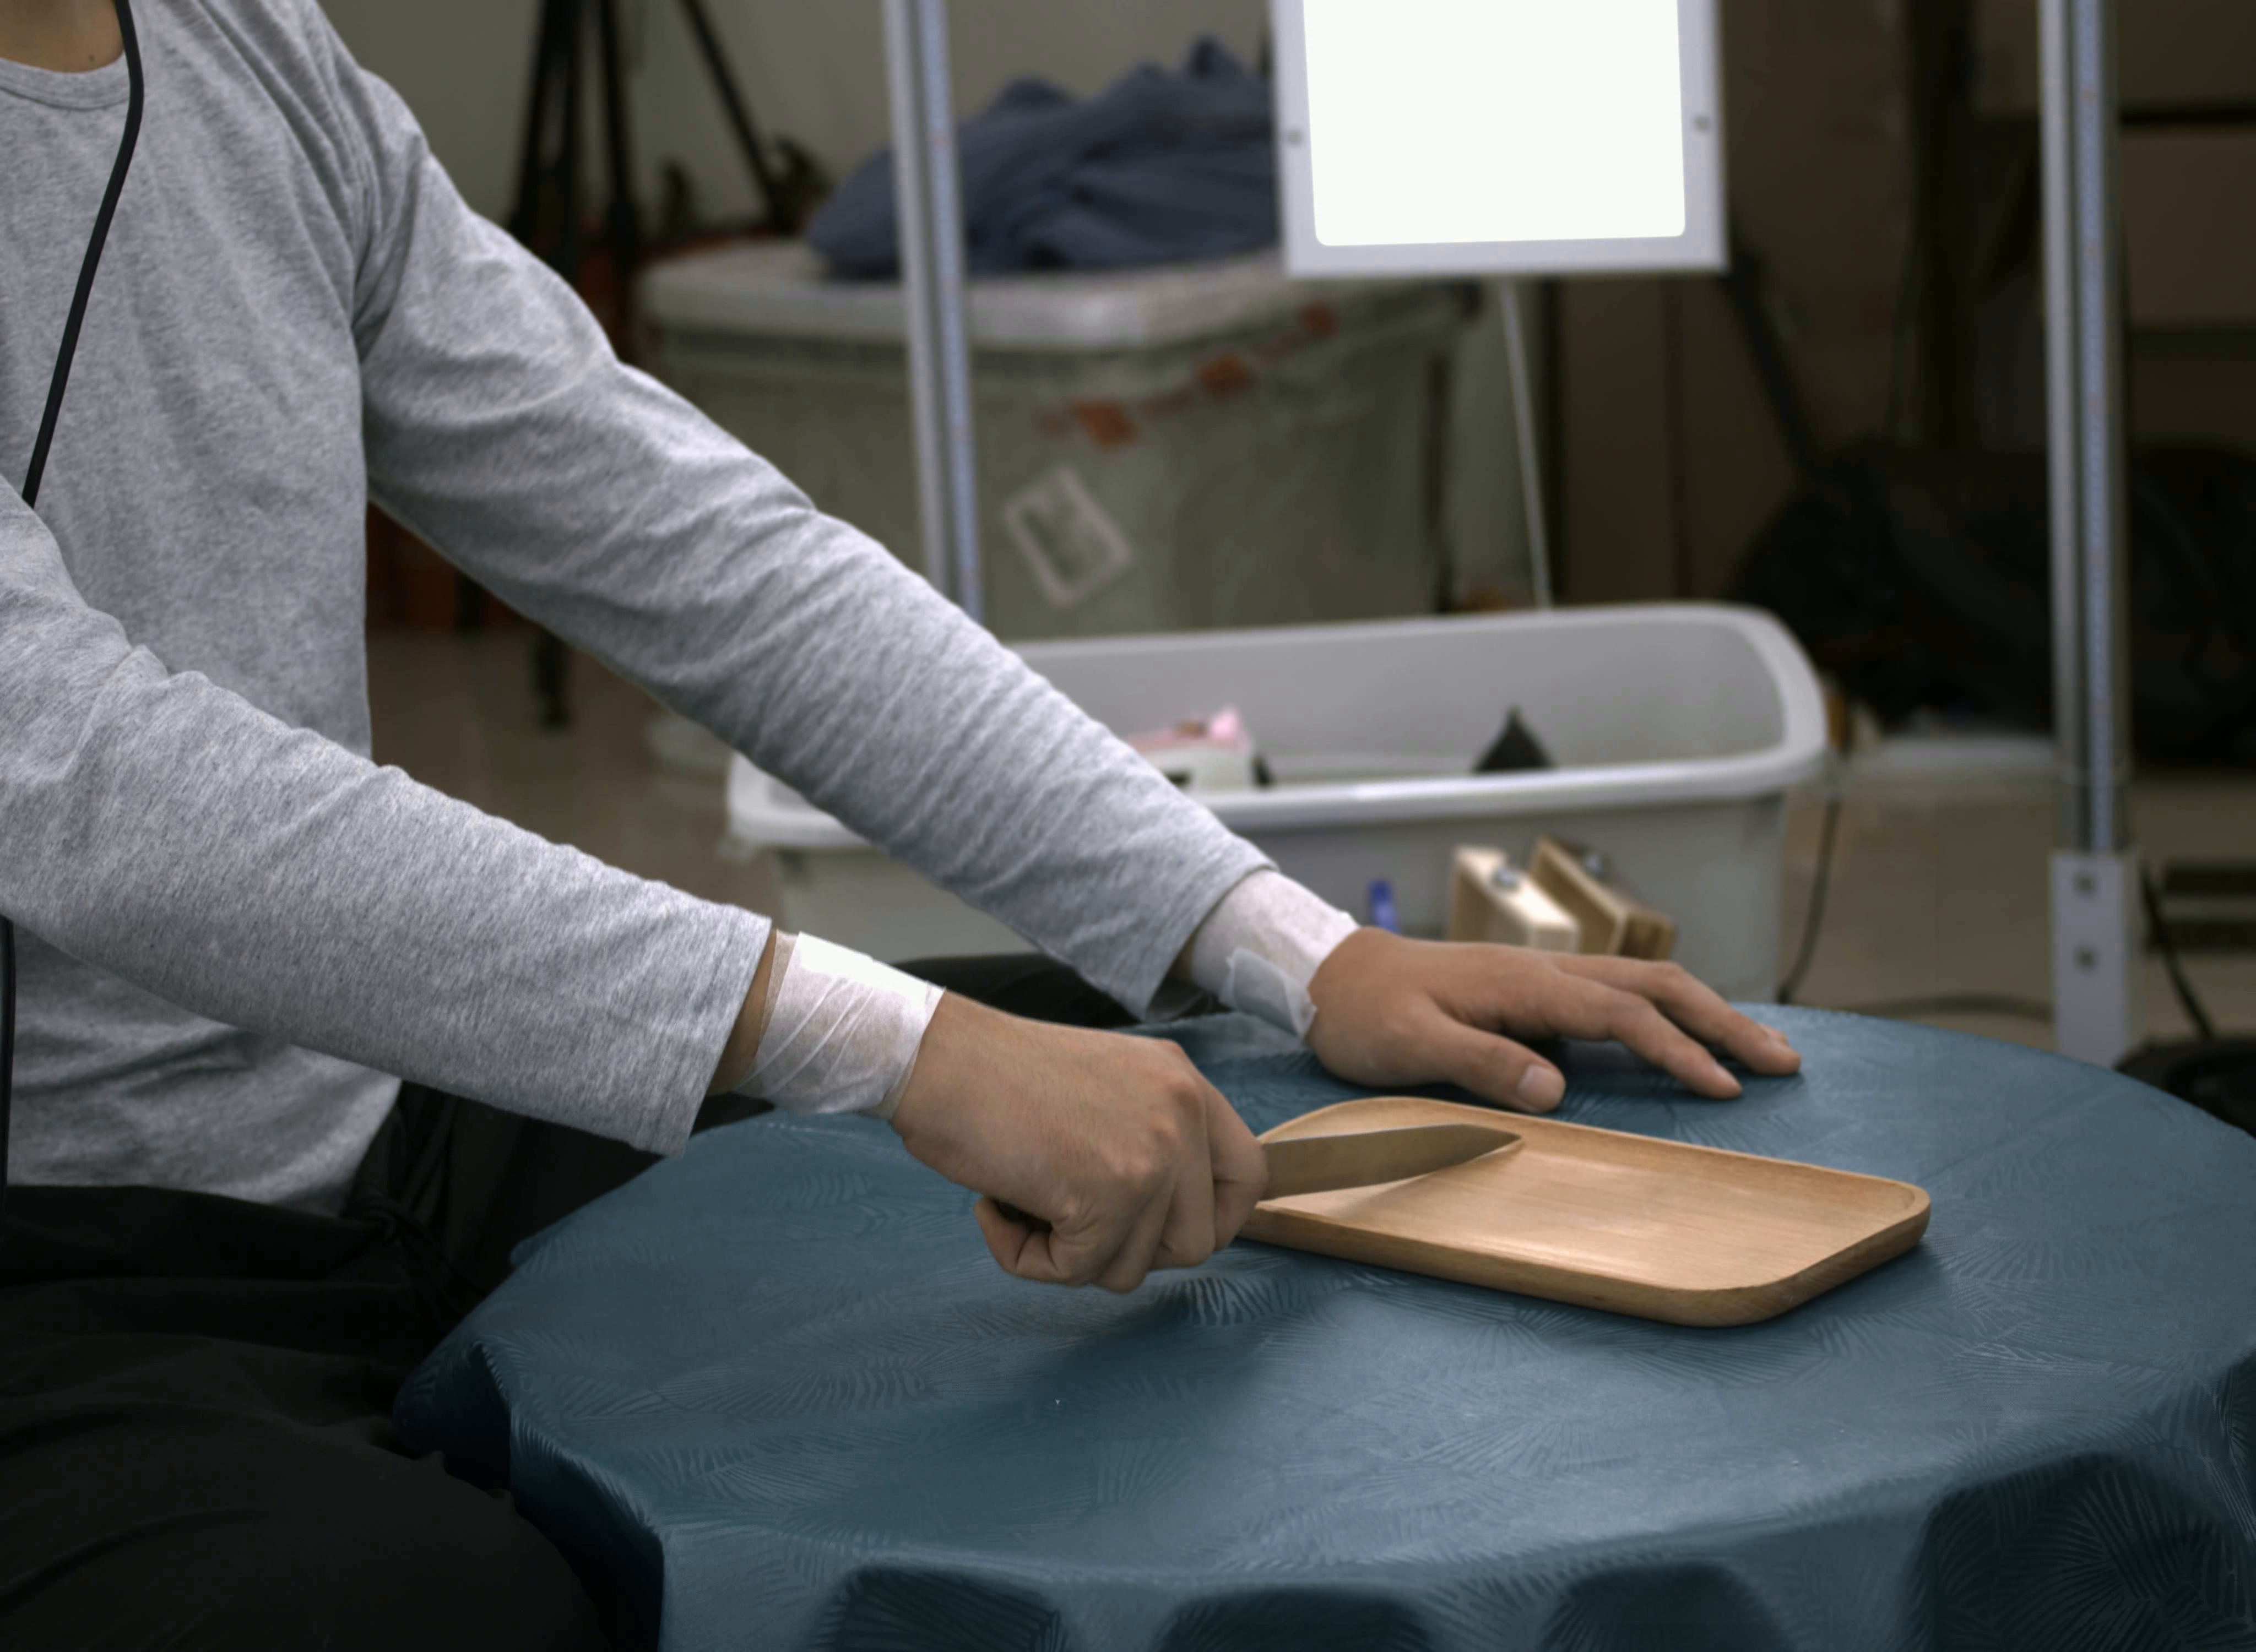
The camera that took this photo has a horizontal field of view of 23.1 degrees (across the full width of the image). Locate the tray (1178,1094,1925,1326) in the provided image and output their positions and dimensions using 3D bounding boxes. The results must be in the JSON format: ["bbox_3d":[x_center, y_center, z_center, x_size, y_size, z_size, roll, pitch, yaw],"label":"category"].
[{"bbox_3d":[0.137,0.125,1.822,0.256,0.023,0.127,7,15,44],"label":"tray"}]

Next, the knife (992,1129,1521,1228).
[{"bbox_3d":[0.049,0.113,1.815,0.232,0.024,0.016,-3,24,-41],"label":"knife"}]
